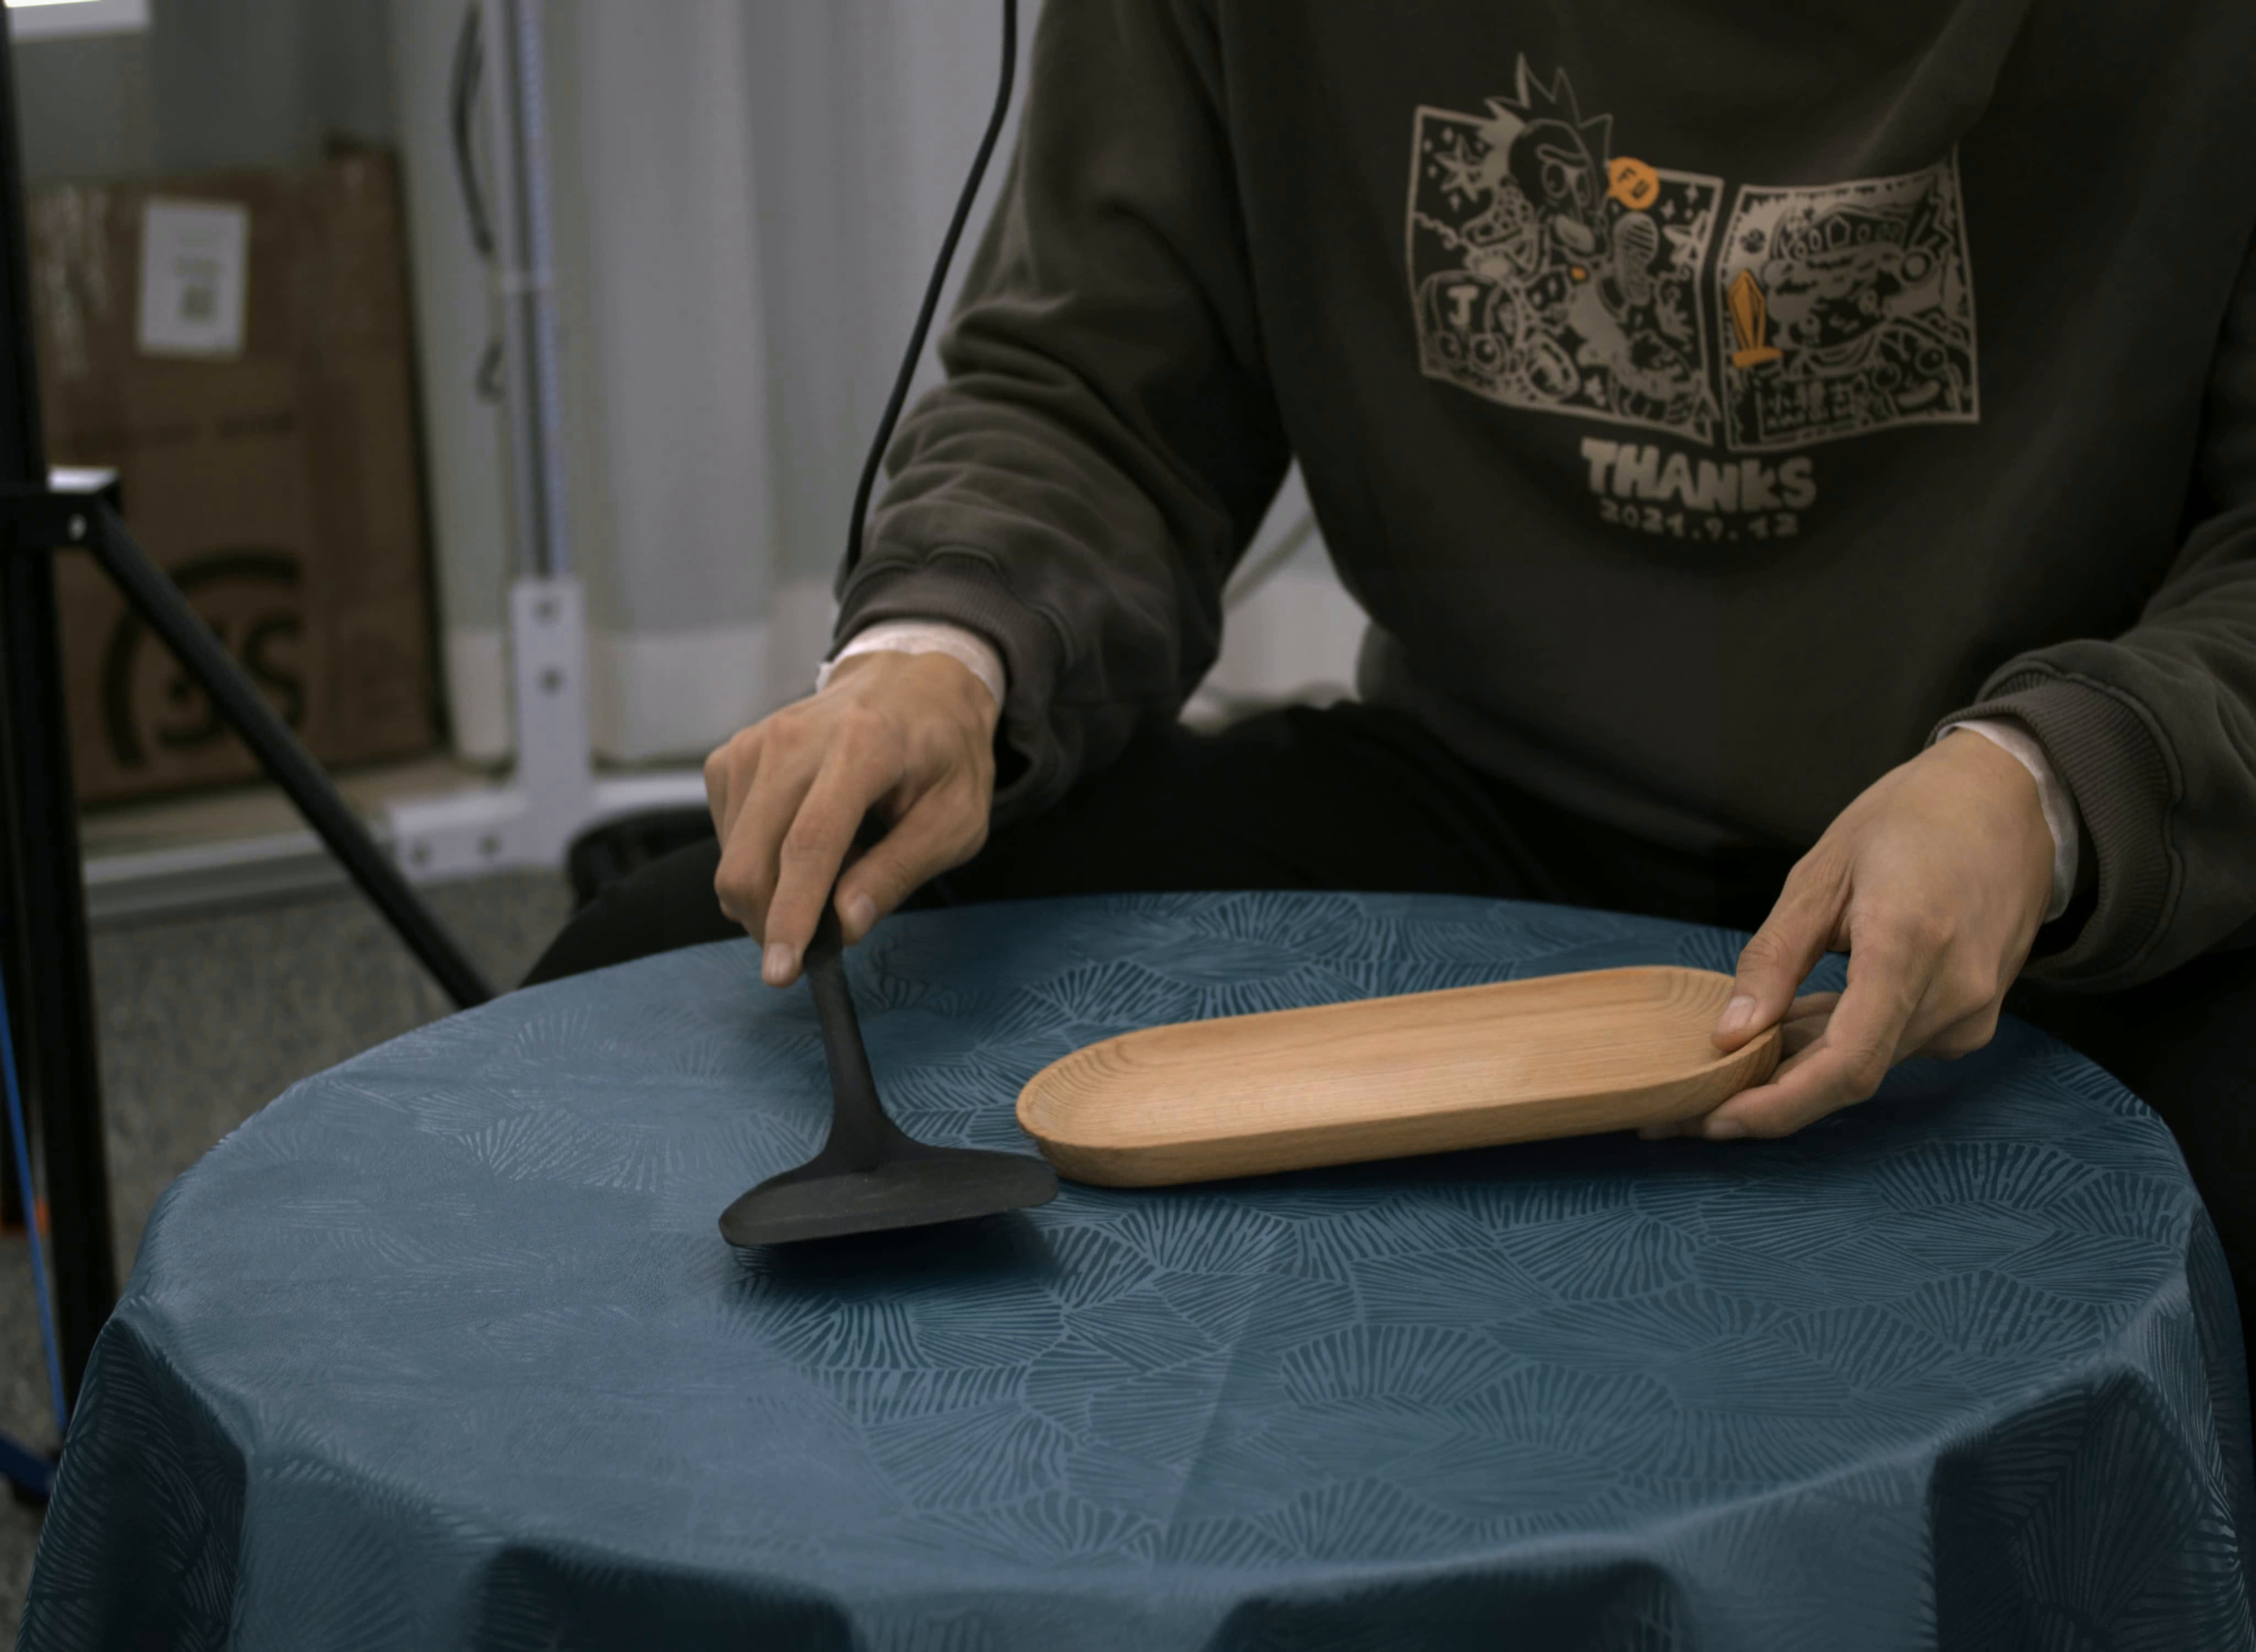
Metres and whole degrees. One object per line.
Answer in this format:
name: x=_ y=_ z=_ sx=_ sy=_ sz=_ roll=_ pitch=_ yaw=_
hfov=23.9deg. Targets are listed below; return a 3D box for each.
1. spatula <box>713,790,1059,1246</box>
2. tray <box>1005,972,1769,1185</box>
spatula: x=-0.091 y=0.053 z=1.642 sx=0.099 sy=0.040 sz=0.330 roll=-7 pitch=29 yaw=-7
tray: x=0.078 y=0.077 z=1.593 sx=0.231 sy=0.020 sz=0.102 roll=-8 pitch=15 yaw=6
